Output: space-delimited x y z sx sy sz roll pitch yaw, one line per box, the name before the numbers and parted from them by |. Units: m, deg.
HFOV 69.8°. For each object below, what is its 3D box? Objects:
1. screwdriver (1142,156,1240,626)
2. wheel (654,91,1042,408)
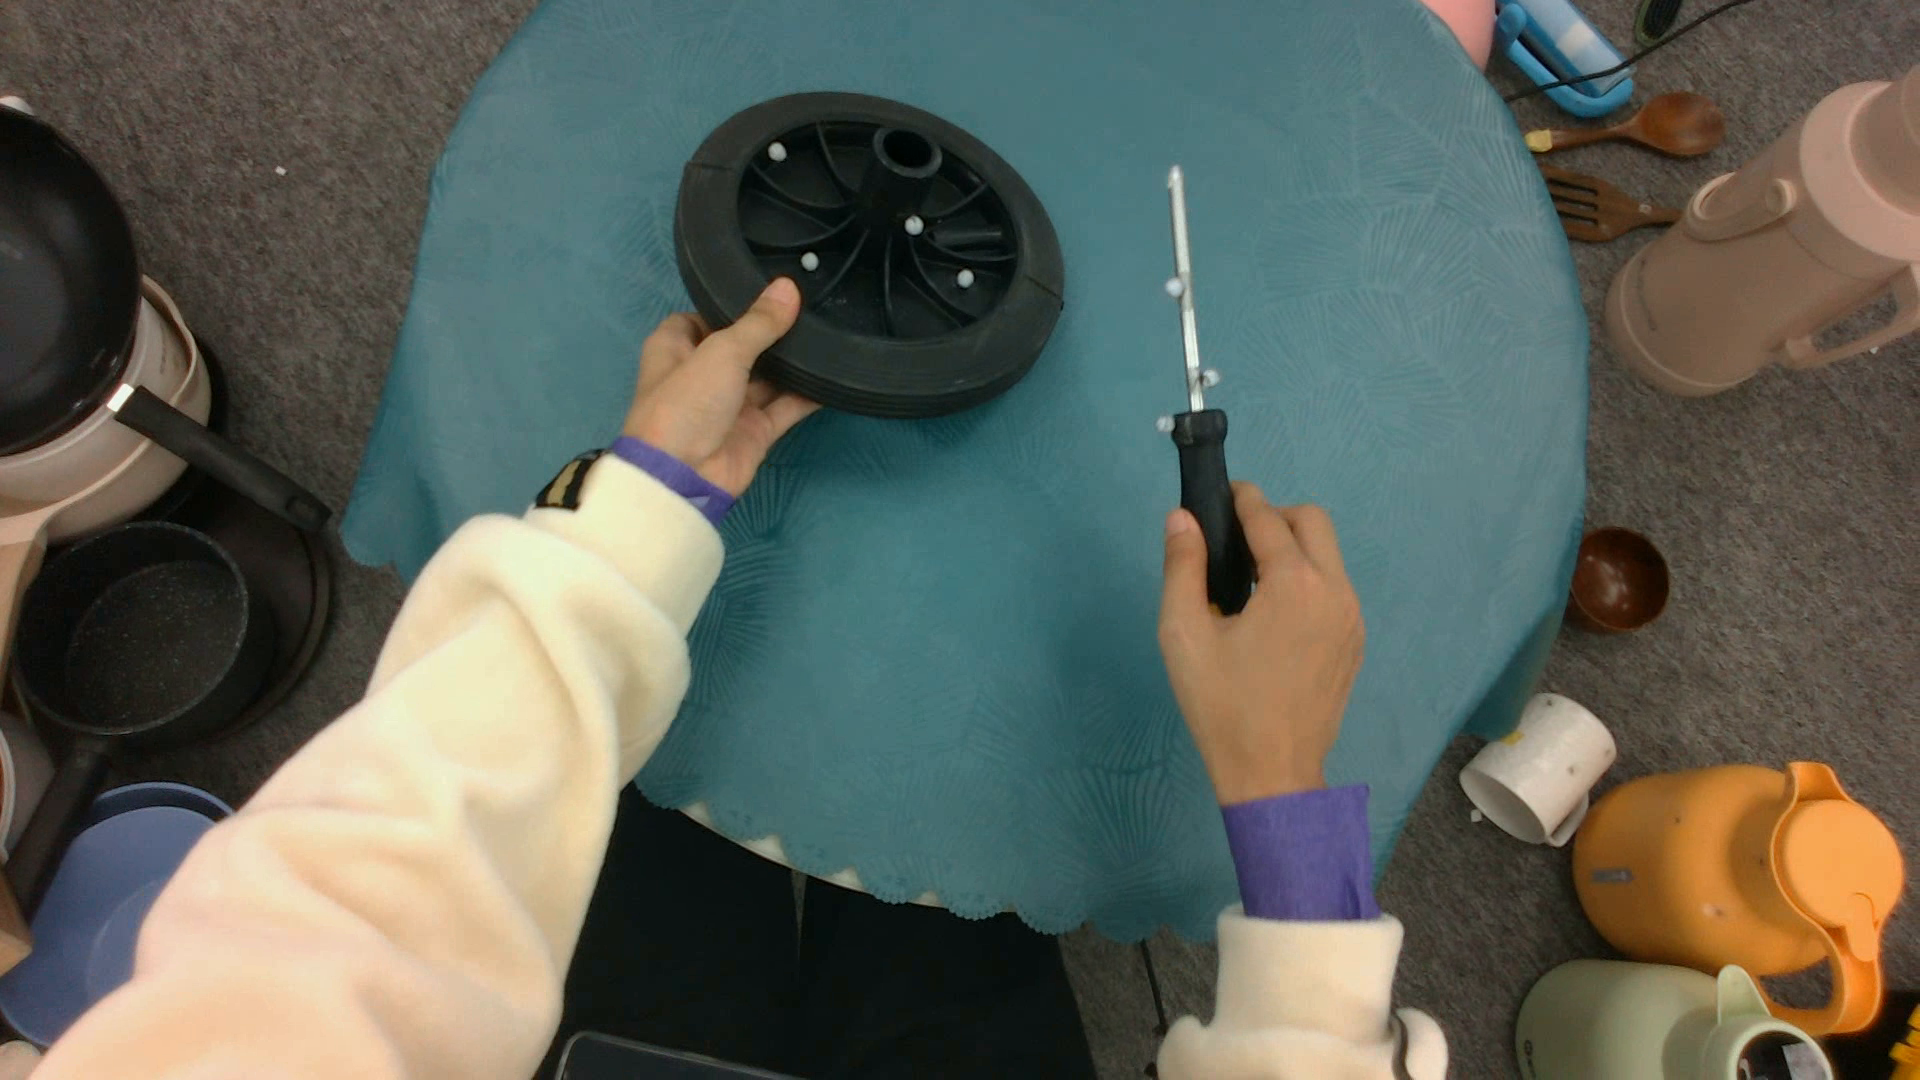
screwdriver | 0.090 -0.060 0.569 0.031 0.031 0.196 -12 99 -9
wheel | -0.043 -0.154 0.639 0.191 0.078 0.187 -34 75 -36
